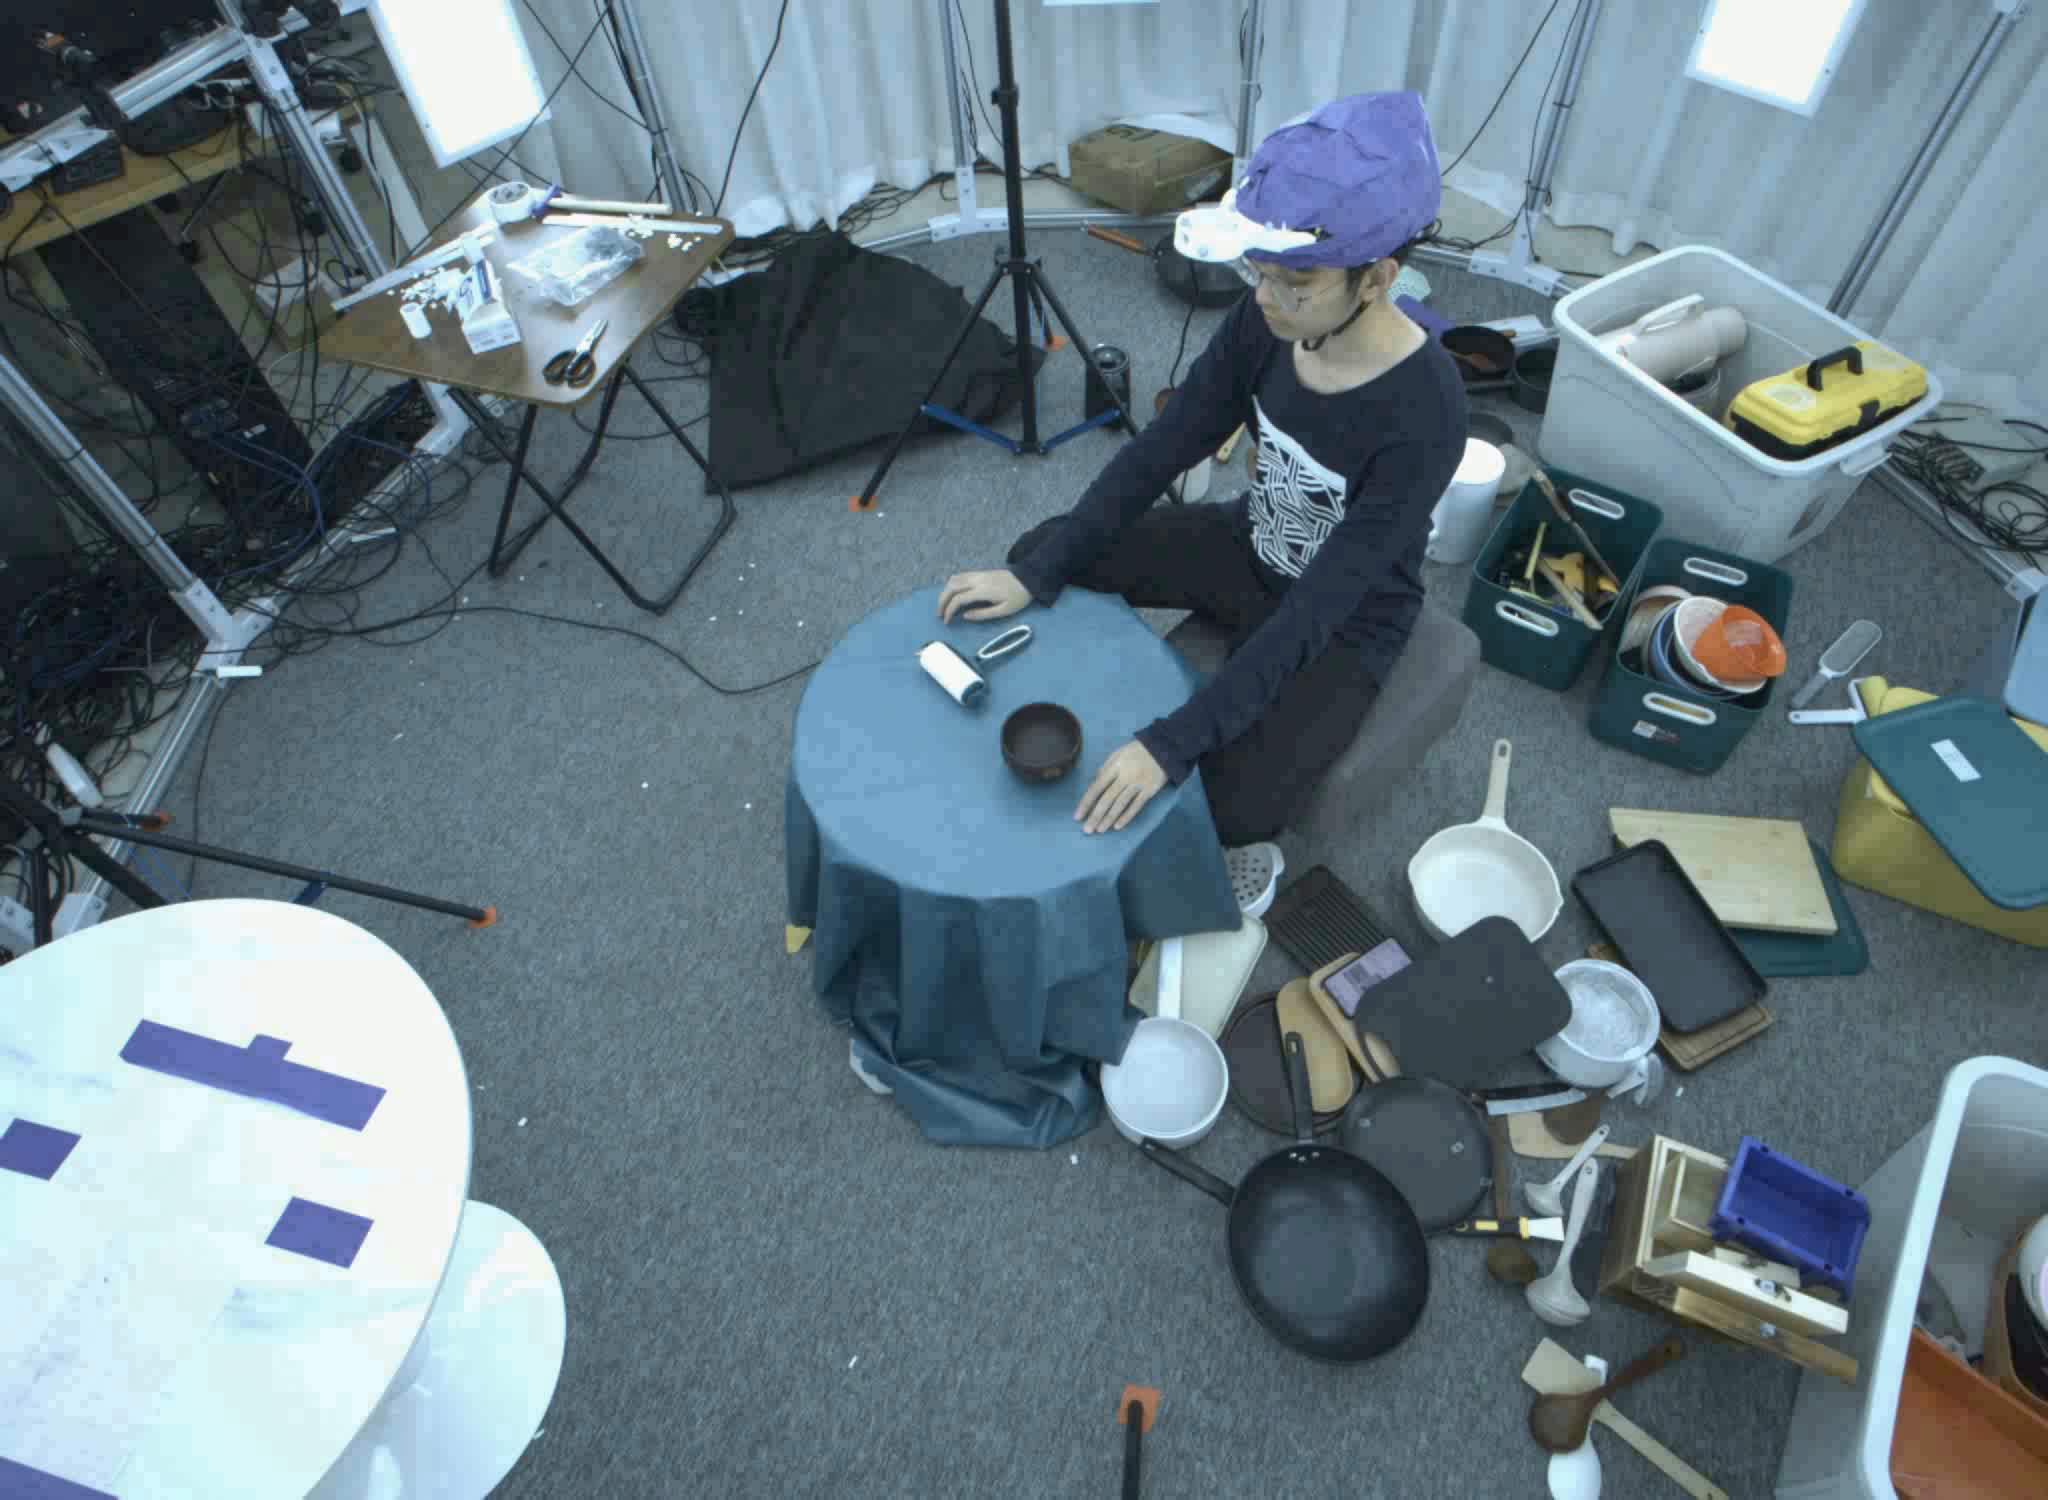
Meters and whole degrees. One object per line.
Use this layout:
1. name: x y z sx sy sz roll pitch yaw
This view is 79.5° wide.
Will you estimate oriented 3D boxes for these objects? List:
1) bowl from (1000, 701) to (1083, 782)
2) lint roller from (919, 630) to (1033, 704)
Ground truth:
1. bowl: 0.025 -0.004 1.752 0.118 0.070 0.117 0 52 1
2. lint roller: -0.058 -0.151 1.879 0.182 0.049 0.132 -34 60 -24
